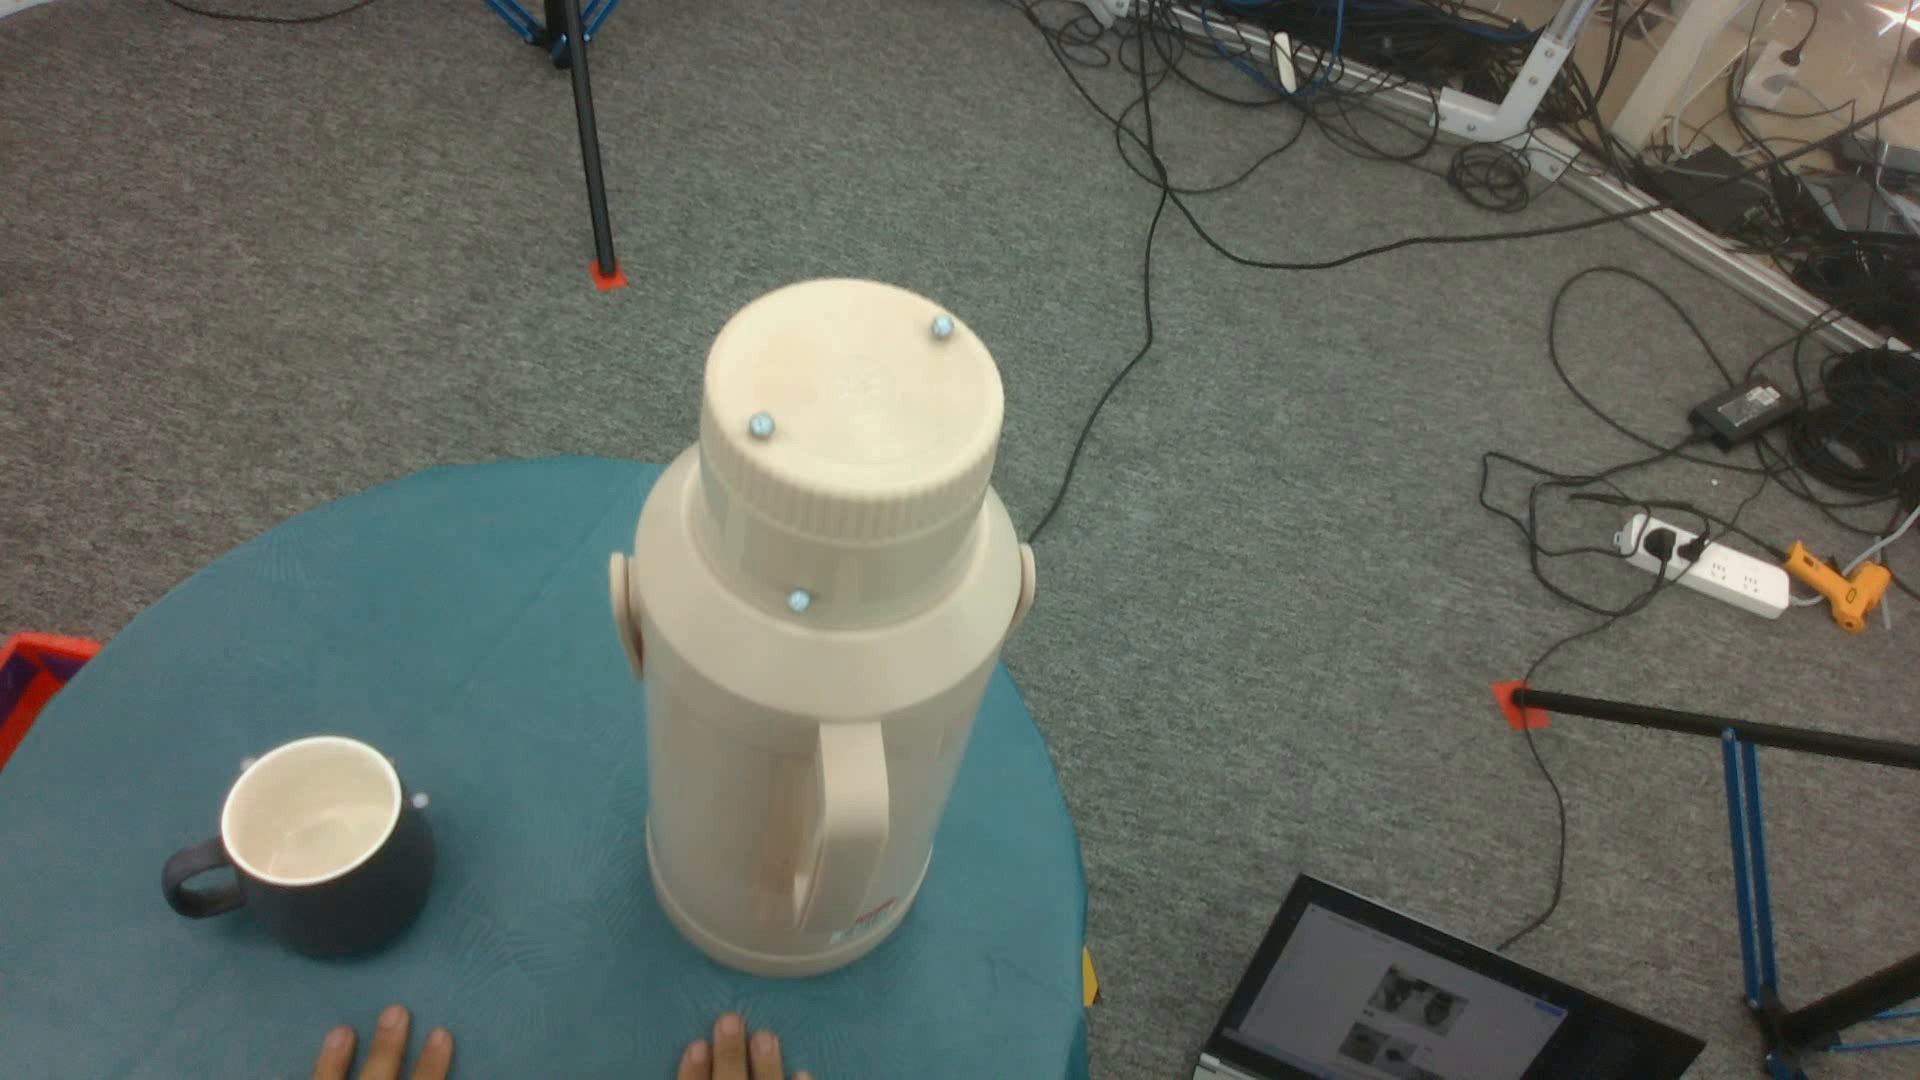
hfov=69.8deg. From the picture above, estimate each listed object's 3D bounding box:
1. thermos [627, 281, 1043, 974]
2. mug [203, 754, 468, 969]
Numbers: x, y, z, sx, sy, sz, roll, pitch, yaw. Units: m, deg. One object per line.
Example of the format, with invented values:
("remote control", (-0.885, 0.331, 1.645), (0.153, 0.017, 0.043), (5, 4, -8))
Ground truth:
("thermos", (-0.059, 0.073, 0.639), (0.175, 0.404, 0.208), (-4, 55, -12))
("mug", (-0.324, 0.170, 0.713), (0.123, 0.089, 0.094), (-15, 58, -20))
